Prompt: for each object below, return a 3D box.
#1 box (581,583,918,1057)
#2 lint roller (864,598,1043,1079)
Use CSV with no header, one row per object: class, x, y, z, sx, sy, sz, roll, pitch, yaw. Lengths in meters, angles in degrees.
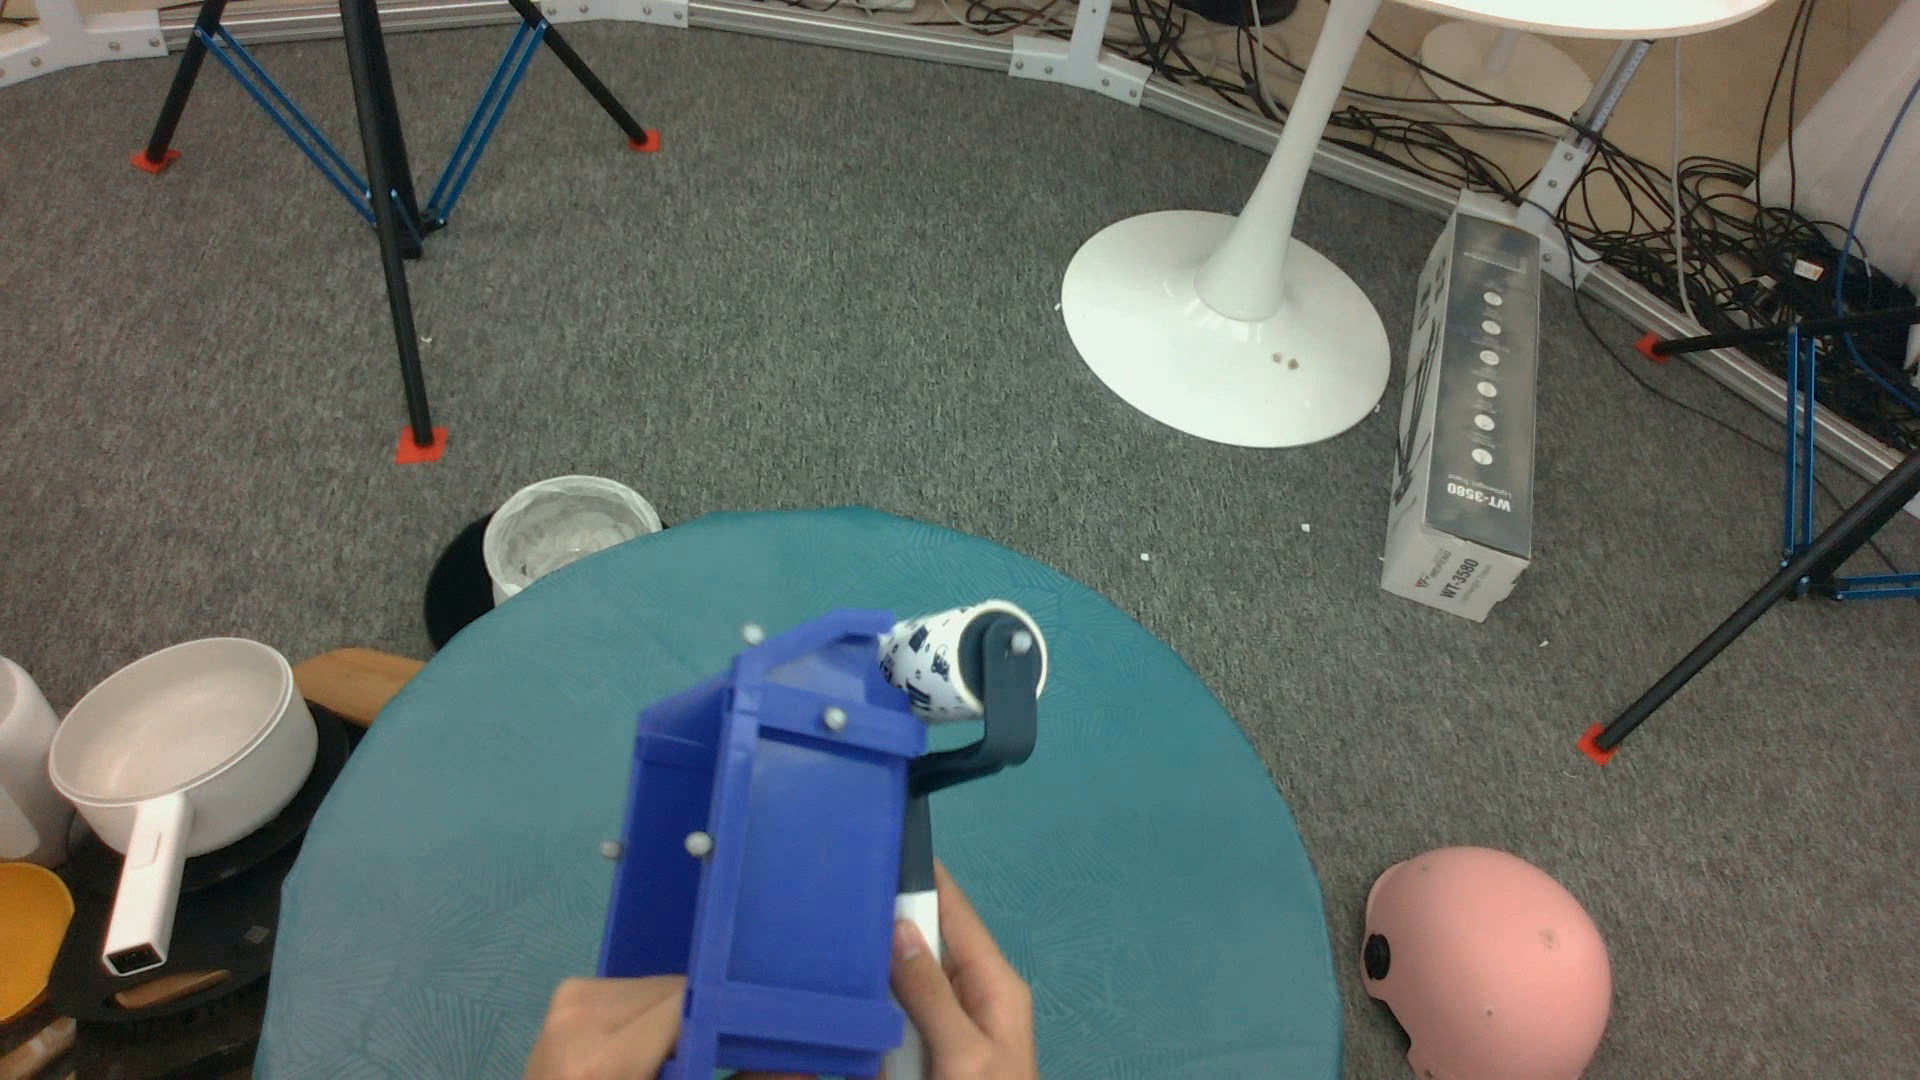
box,-0.085,0.113,0.556,0.082,0.124,0.180,14,67,-28
lint roller,-0.025,0.157,0.588,0.050,0.175,0.247,2,79,-35
